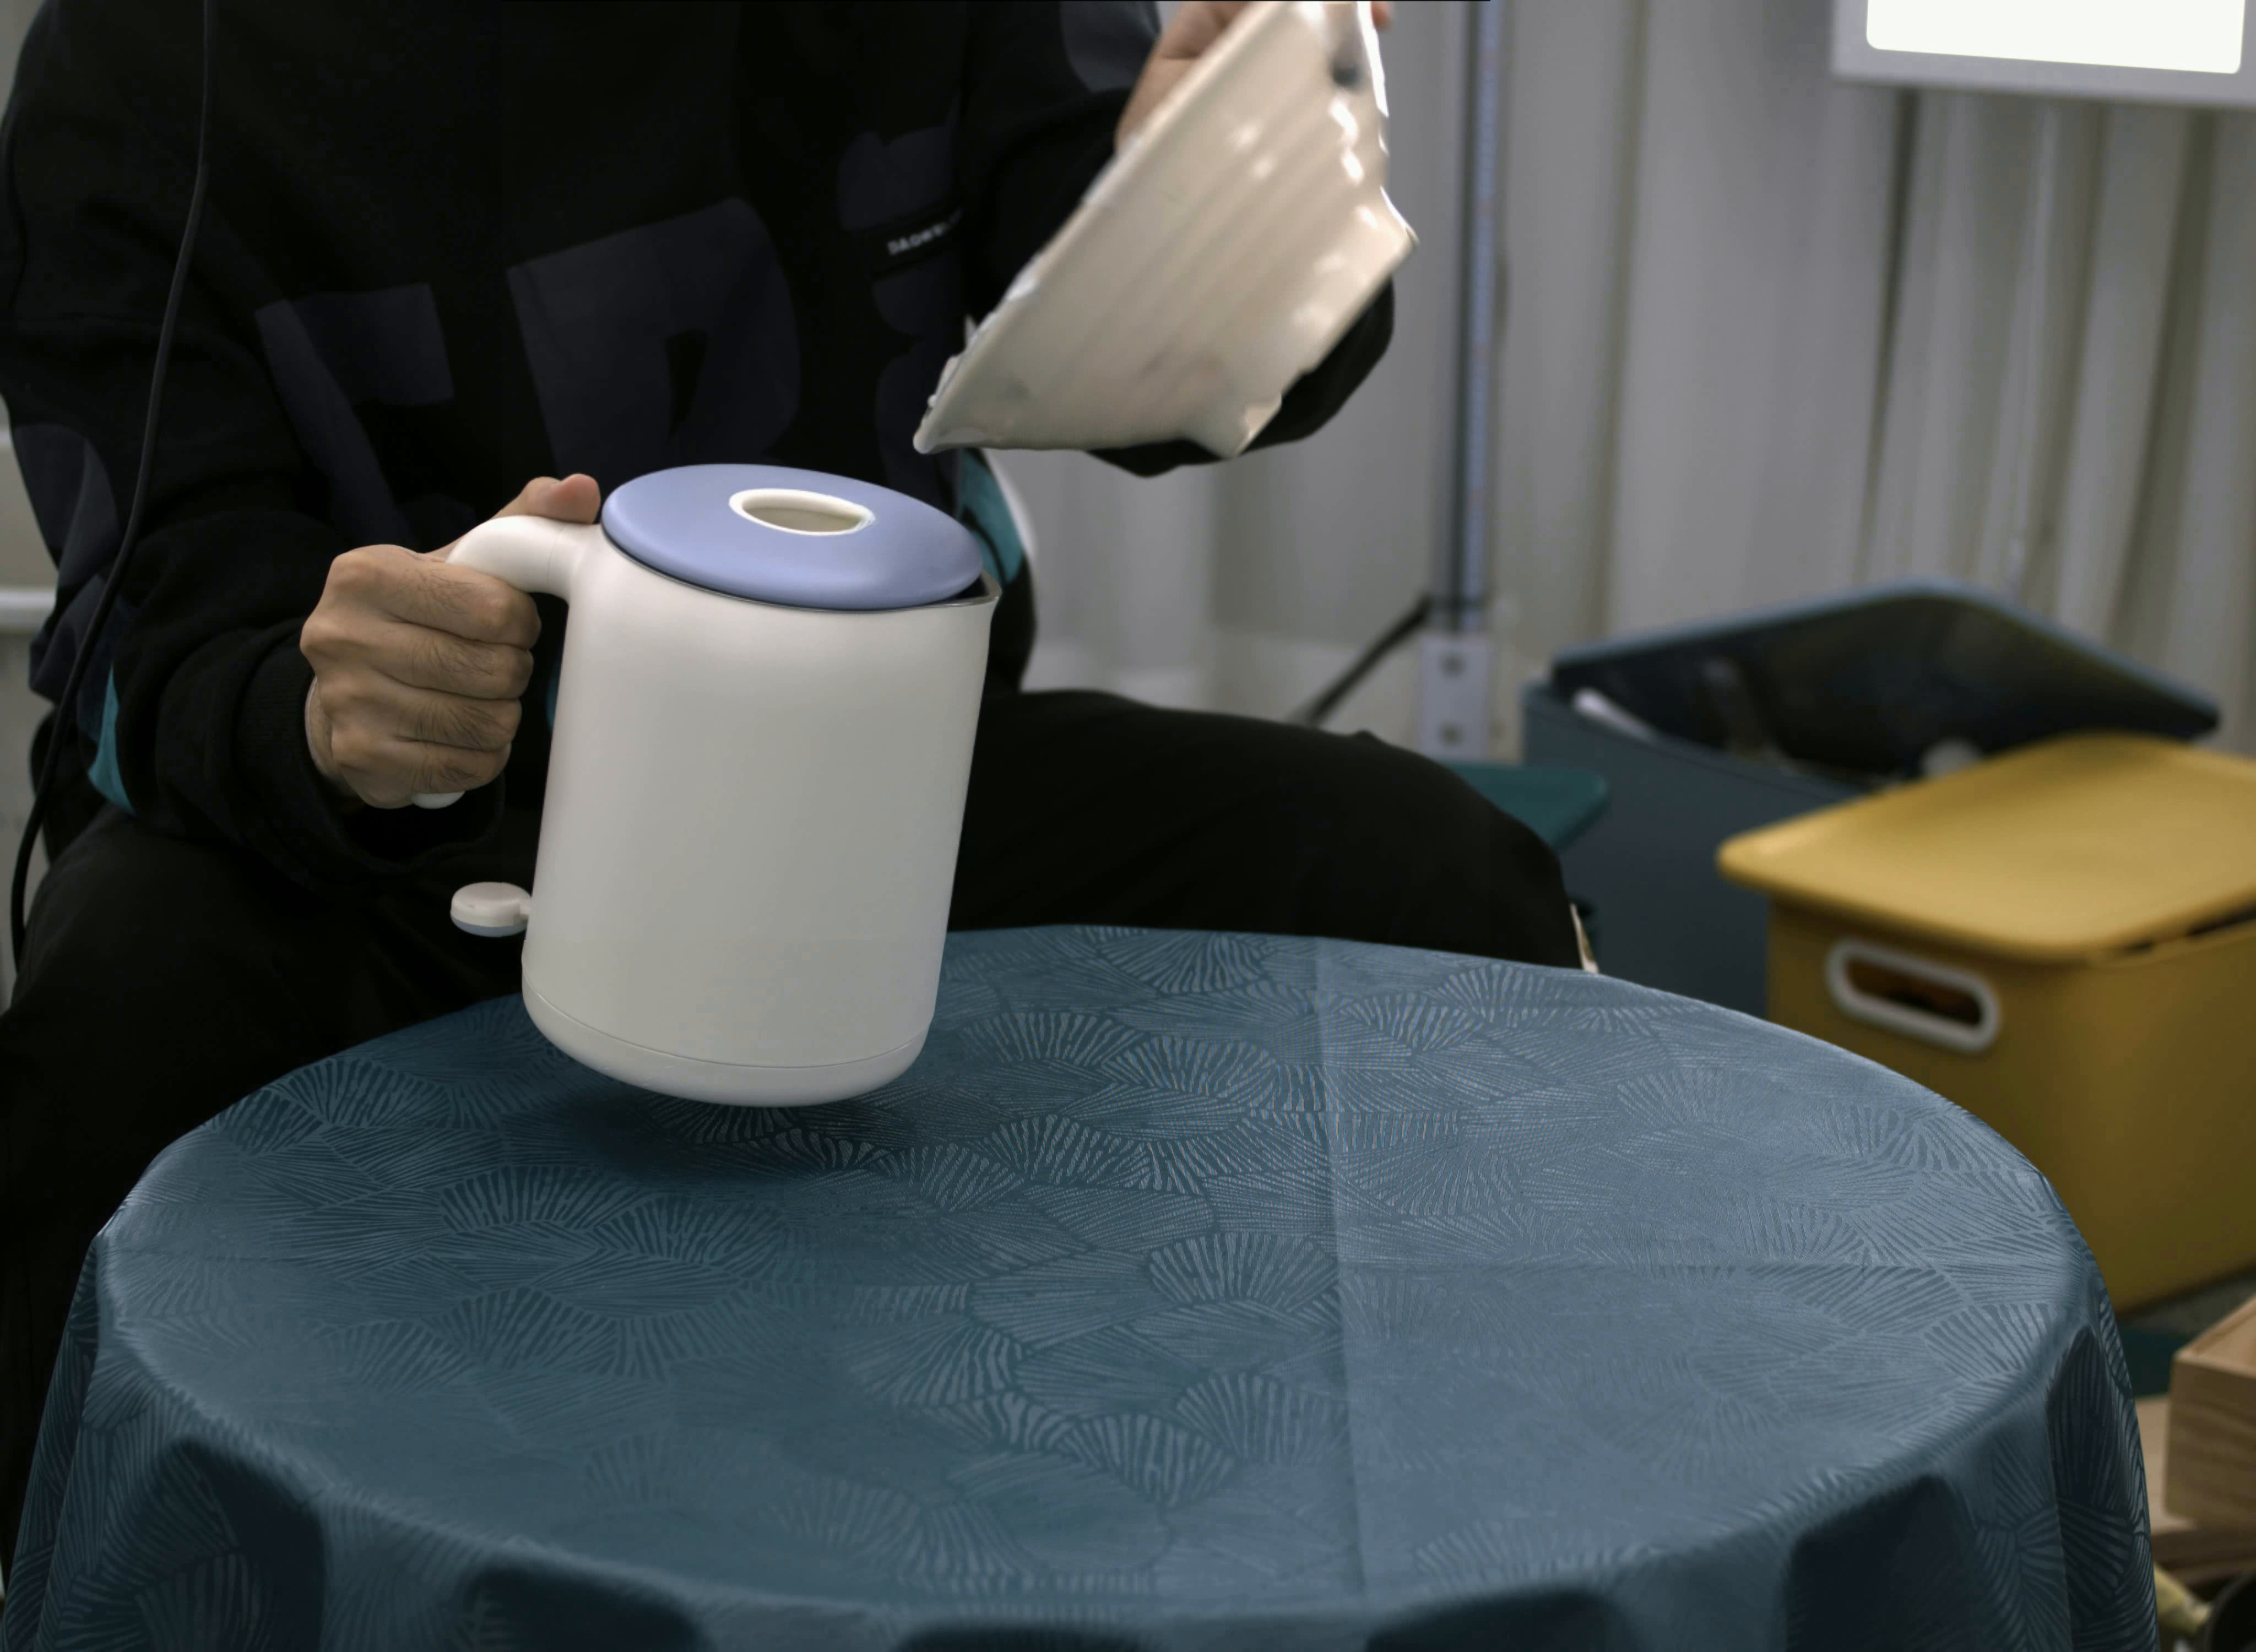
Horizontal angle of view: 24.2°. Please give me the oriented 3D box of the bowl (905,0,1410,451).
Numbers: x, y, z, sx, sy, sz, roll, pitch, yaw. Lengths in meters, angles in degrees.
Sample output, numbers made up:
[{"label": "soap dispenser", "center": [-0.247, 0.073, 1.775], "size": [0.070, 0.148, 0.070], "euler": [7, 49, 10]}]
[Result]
[{"label": "bowl", "center": [0.027, -0.169, 1.557], "size": [0.078, 0.204, 0.204], "euler": [39, 22, 4]}]

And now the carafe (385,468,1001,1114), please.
[{"label": "carafe", "center": [-0.138, -0.016, 1.637], "size": [0.190, 0.184, 0.132], "euler": [9, 18, 10]}]
